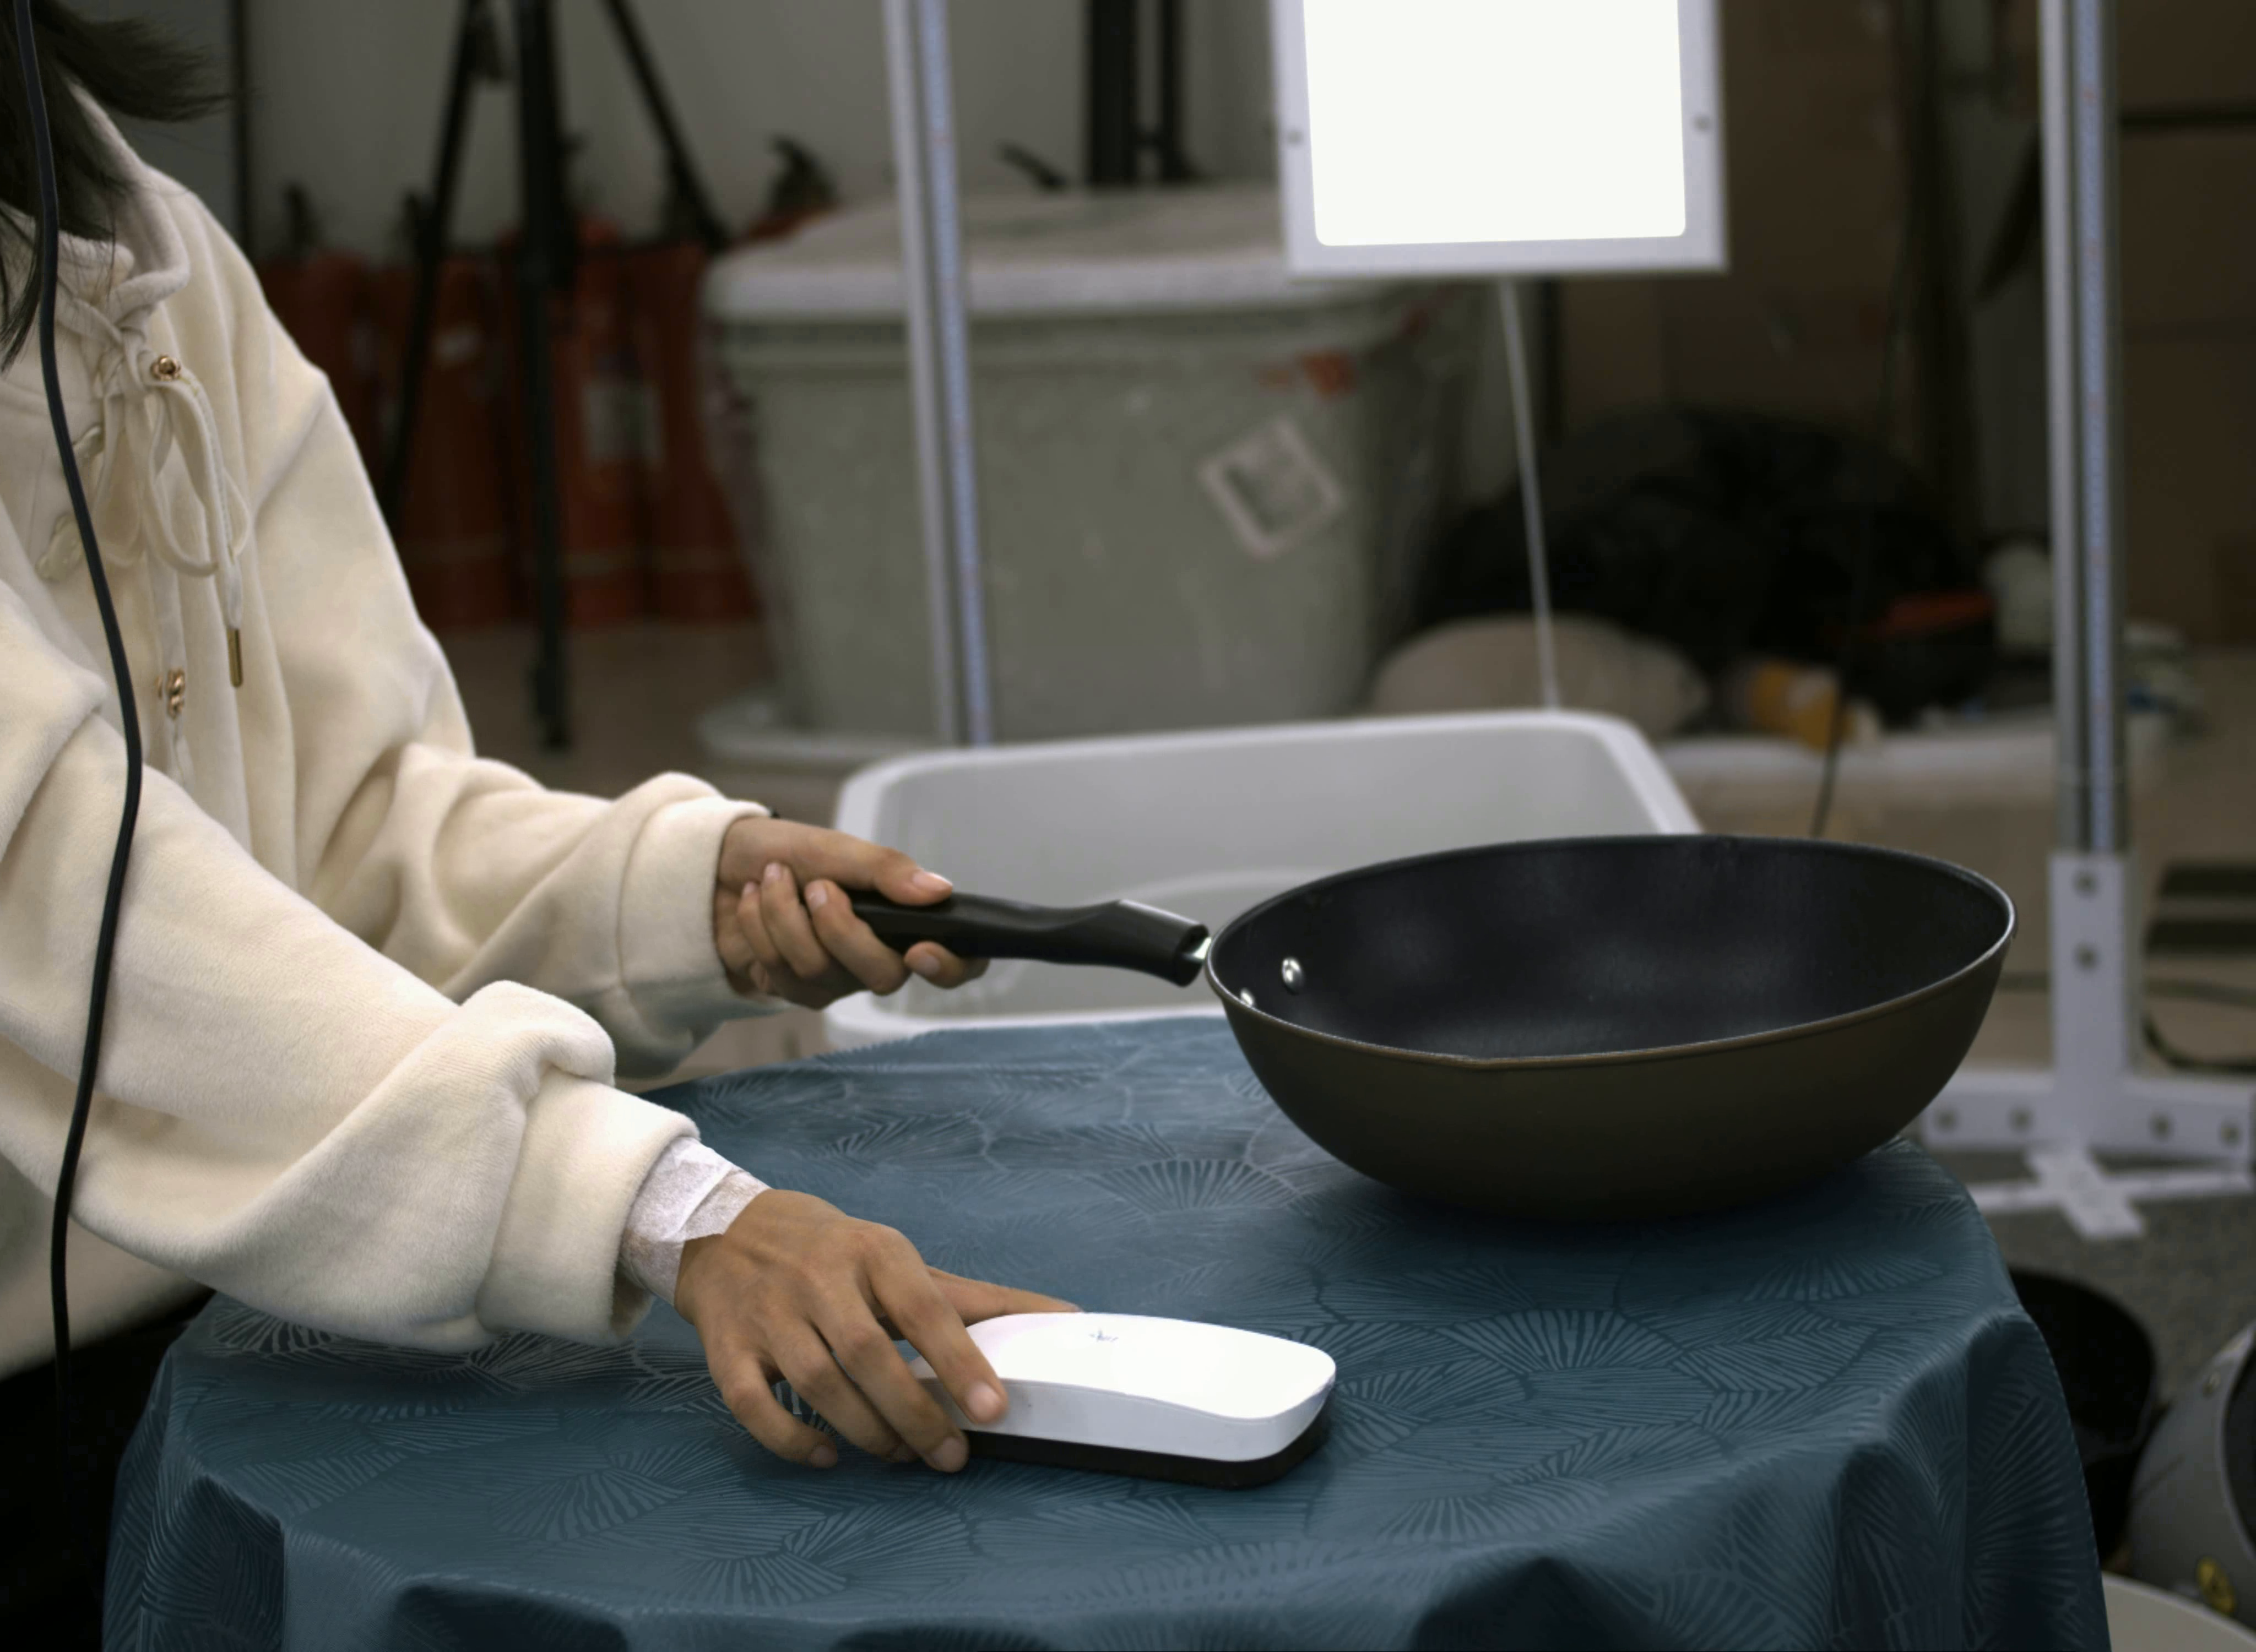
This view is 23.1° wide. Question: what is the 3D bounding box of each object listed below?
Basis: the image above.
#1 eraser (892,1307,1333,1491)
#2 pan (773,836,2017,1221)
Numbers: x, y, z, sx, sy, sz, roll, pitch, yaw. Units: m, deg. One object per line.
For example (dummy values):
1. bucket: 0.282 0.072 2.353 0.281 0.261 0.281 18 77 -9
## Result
1. eraser: -0.004 0.171 1.655 0.134 0.034 0.062 4 13 30
2. pan: 0.084 0.071 1.917 0.471 0.087 0.282 1 15 26
